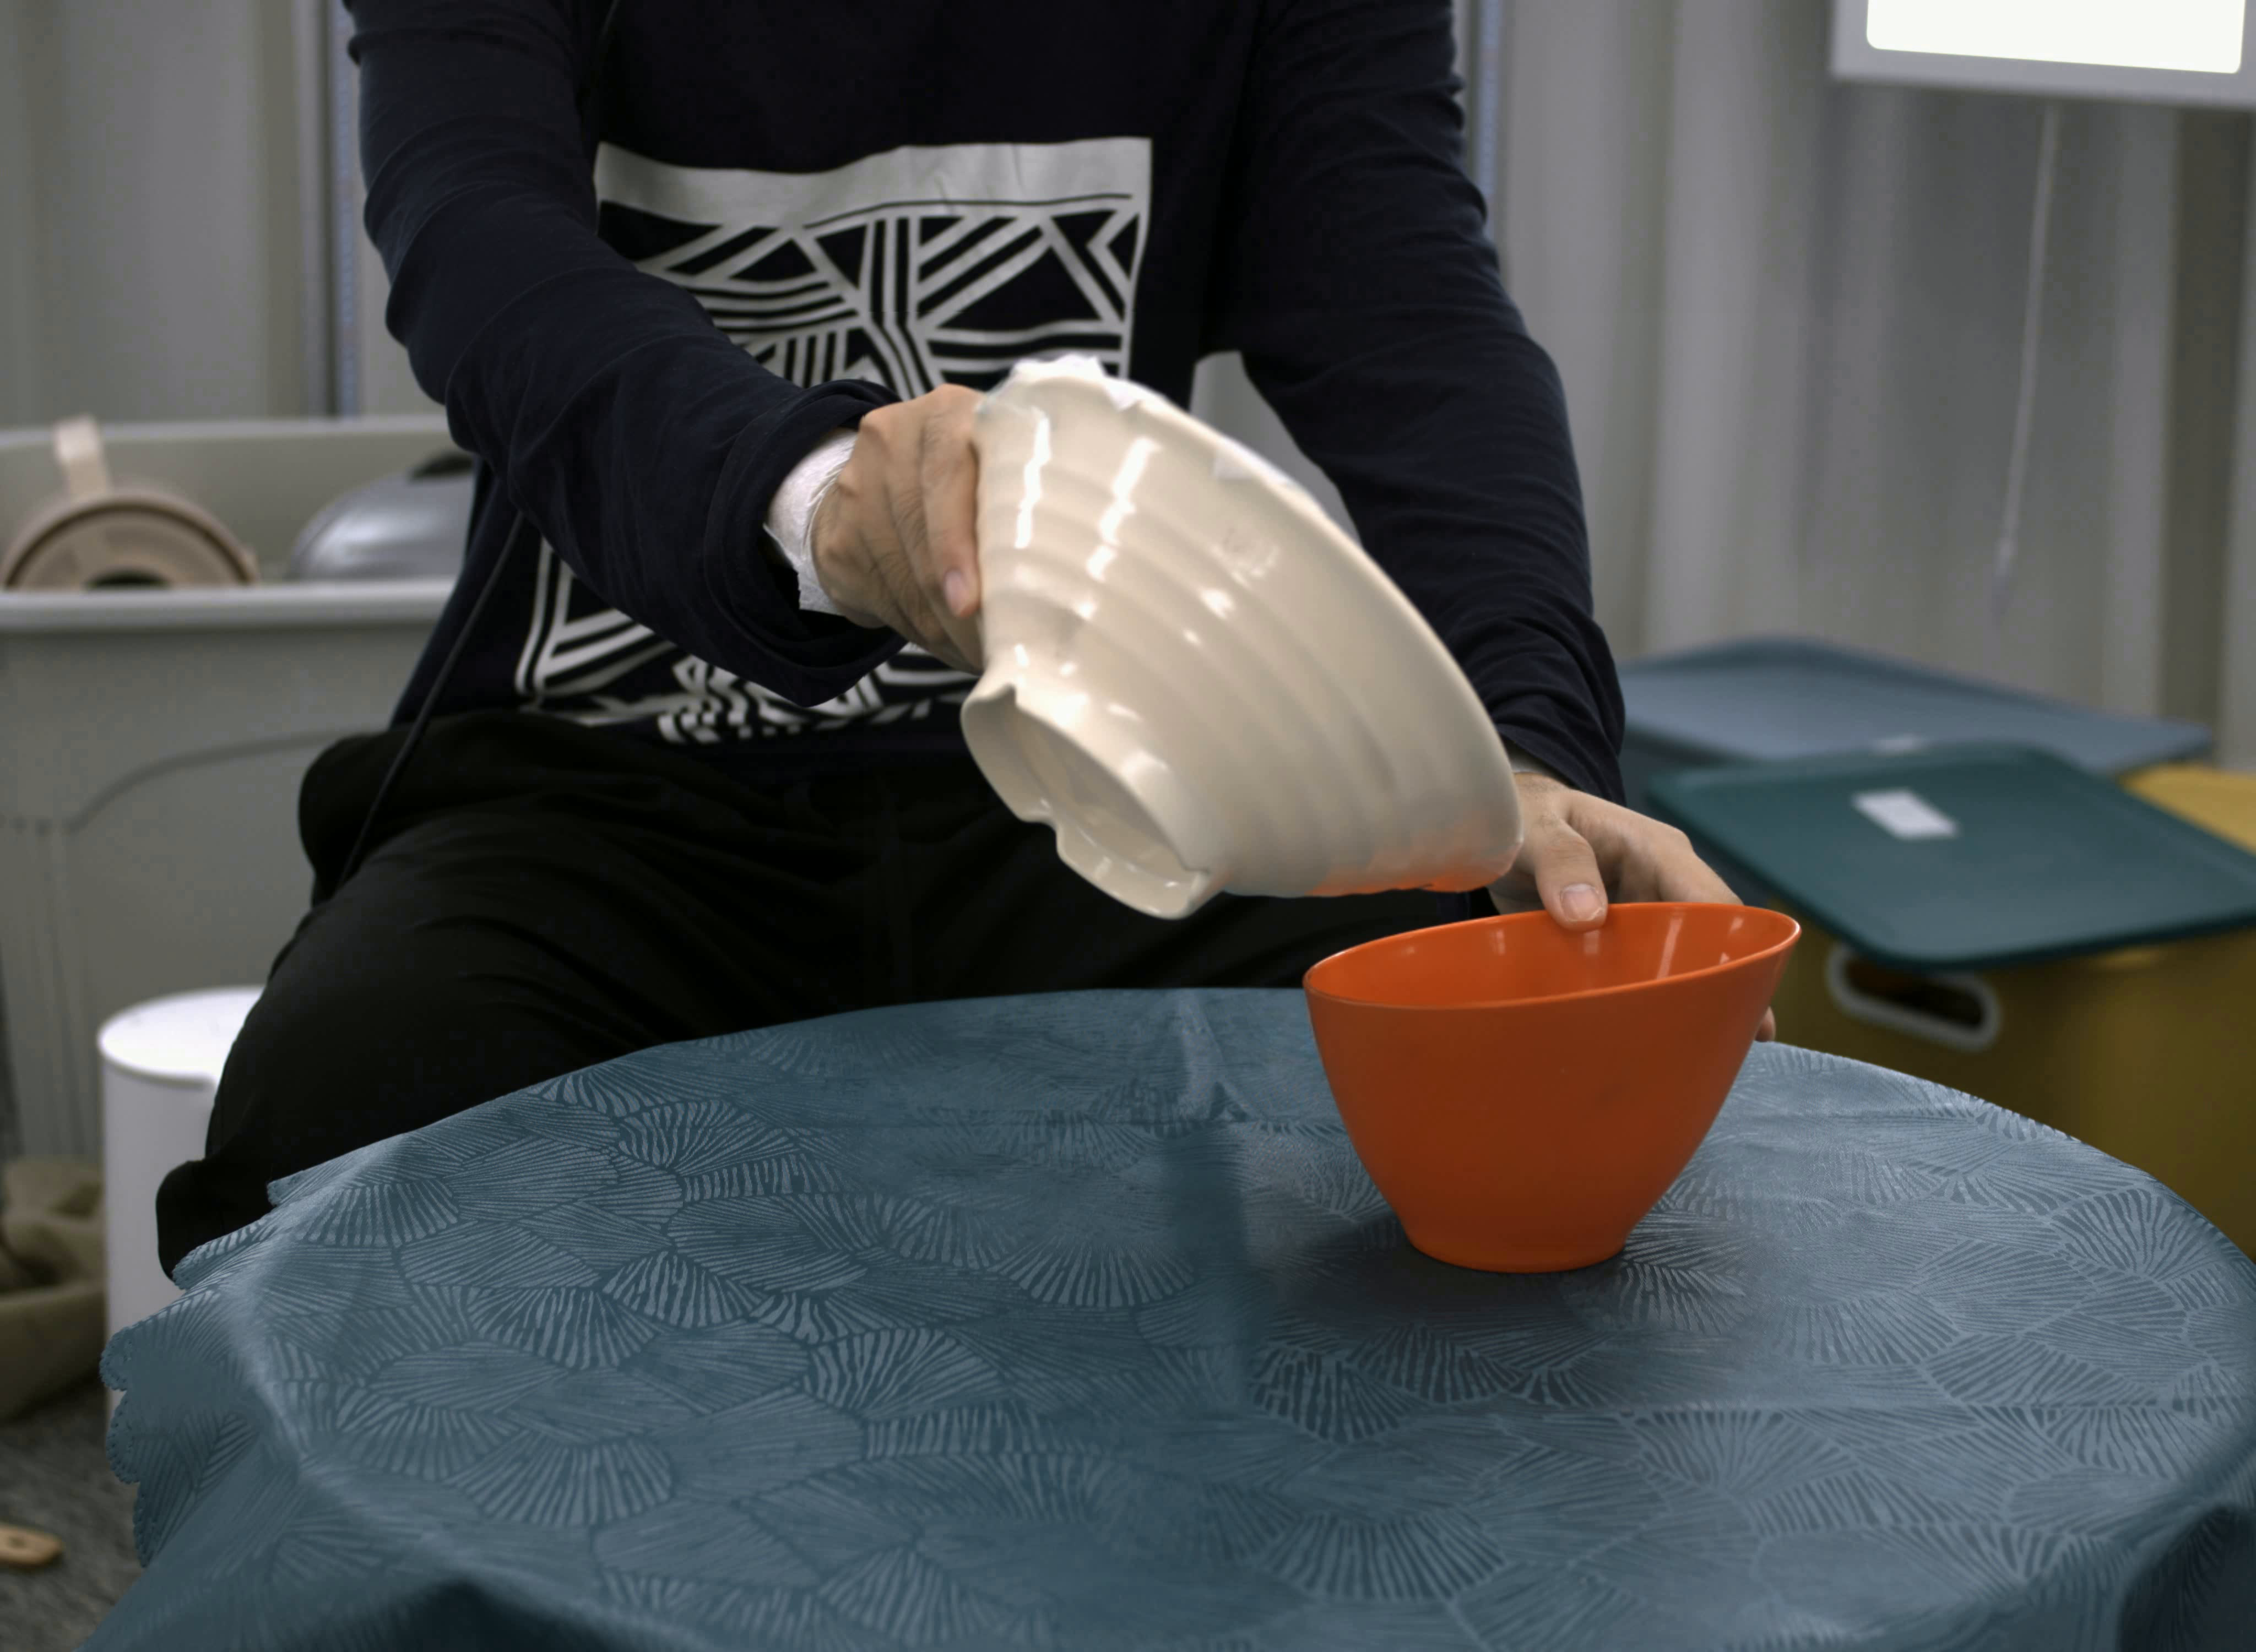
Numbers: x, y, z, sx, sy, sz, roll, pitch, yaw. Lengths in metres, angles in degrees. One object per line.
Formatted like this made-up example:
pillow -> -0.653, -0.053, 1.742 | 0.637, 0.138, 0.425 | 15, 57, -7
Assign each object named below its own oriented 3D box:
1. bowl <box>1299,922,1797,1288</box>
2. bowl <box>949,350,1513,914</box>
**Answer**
bowl -> 0.124, 0.081, 1.566 | 0.147, 0.105, 0.147 | -1, 12, 1
bowl -> 0.007, -0.033, 1.484 | 0.078, 0.207, 0.201 | -48, 38, -19
